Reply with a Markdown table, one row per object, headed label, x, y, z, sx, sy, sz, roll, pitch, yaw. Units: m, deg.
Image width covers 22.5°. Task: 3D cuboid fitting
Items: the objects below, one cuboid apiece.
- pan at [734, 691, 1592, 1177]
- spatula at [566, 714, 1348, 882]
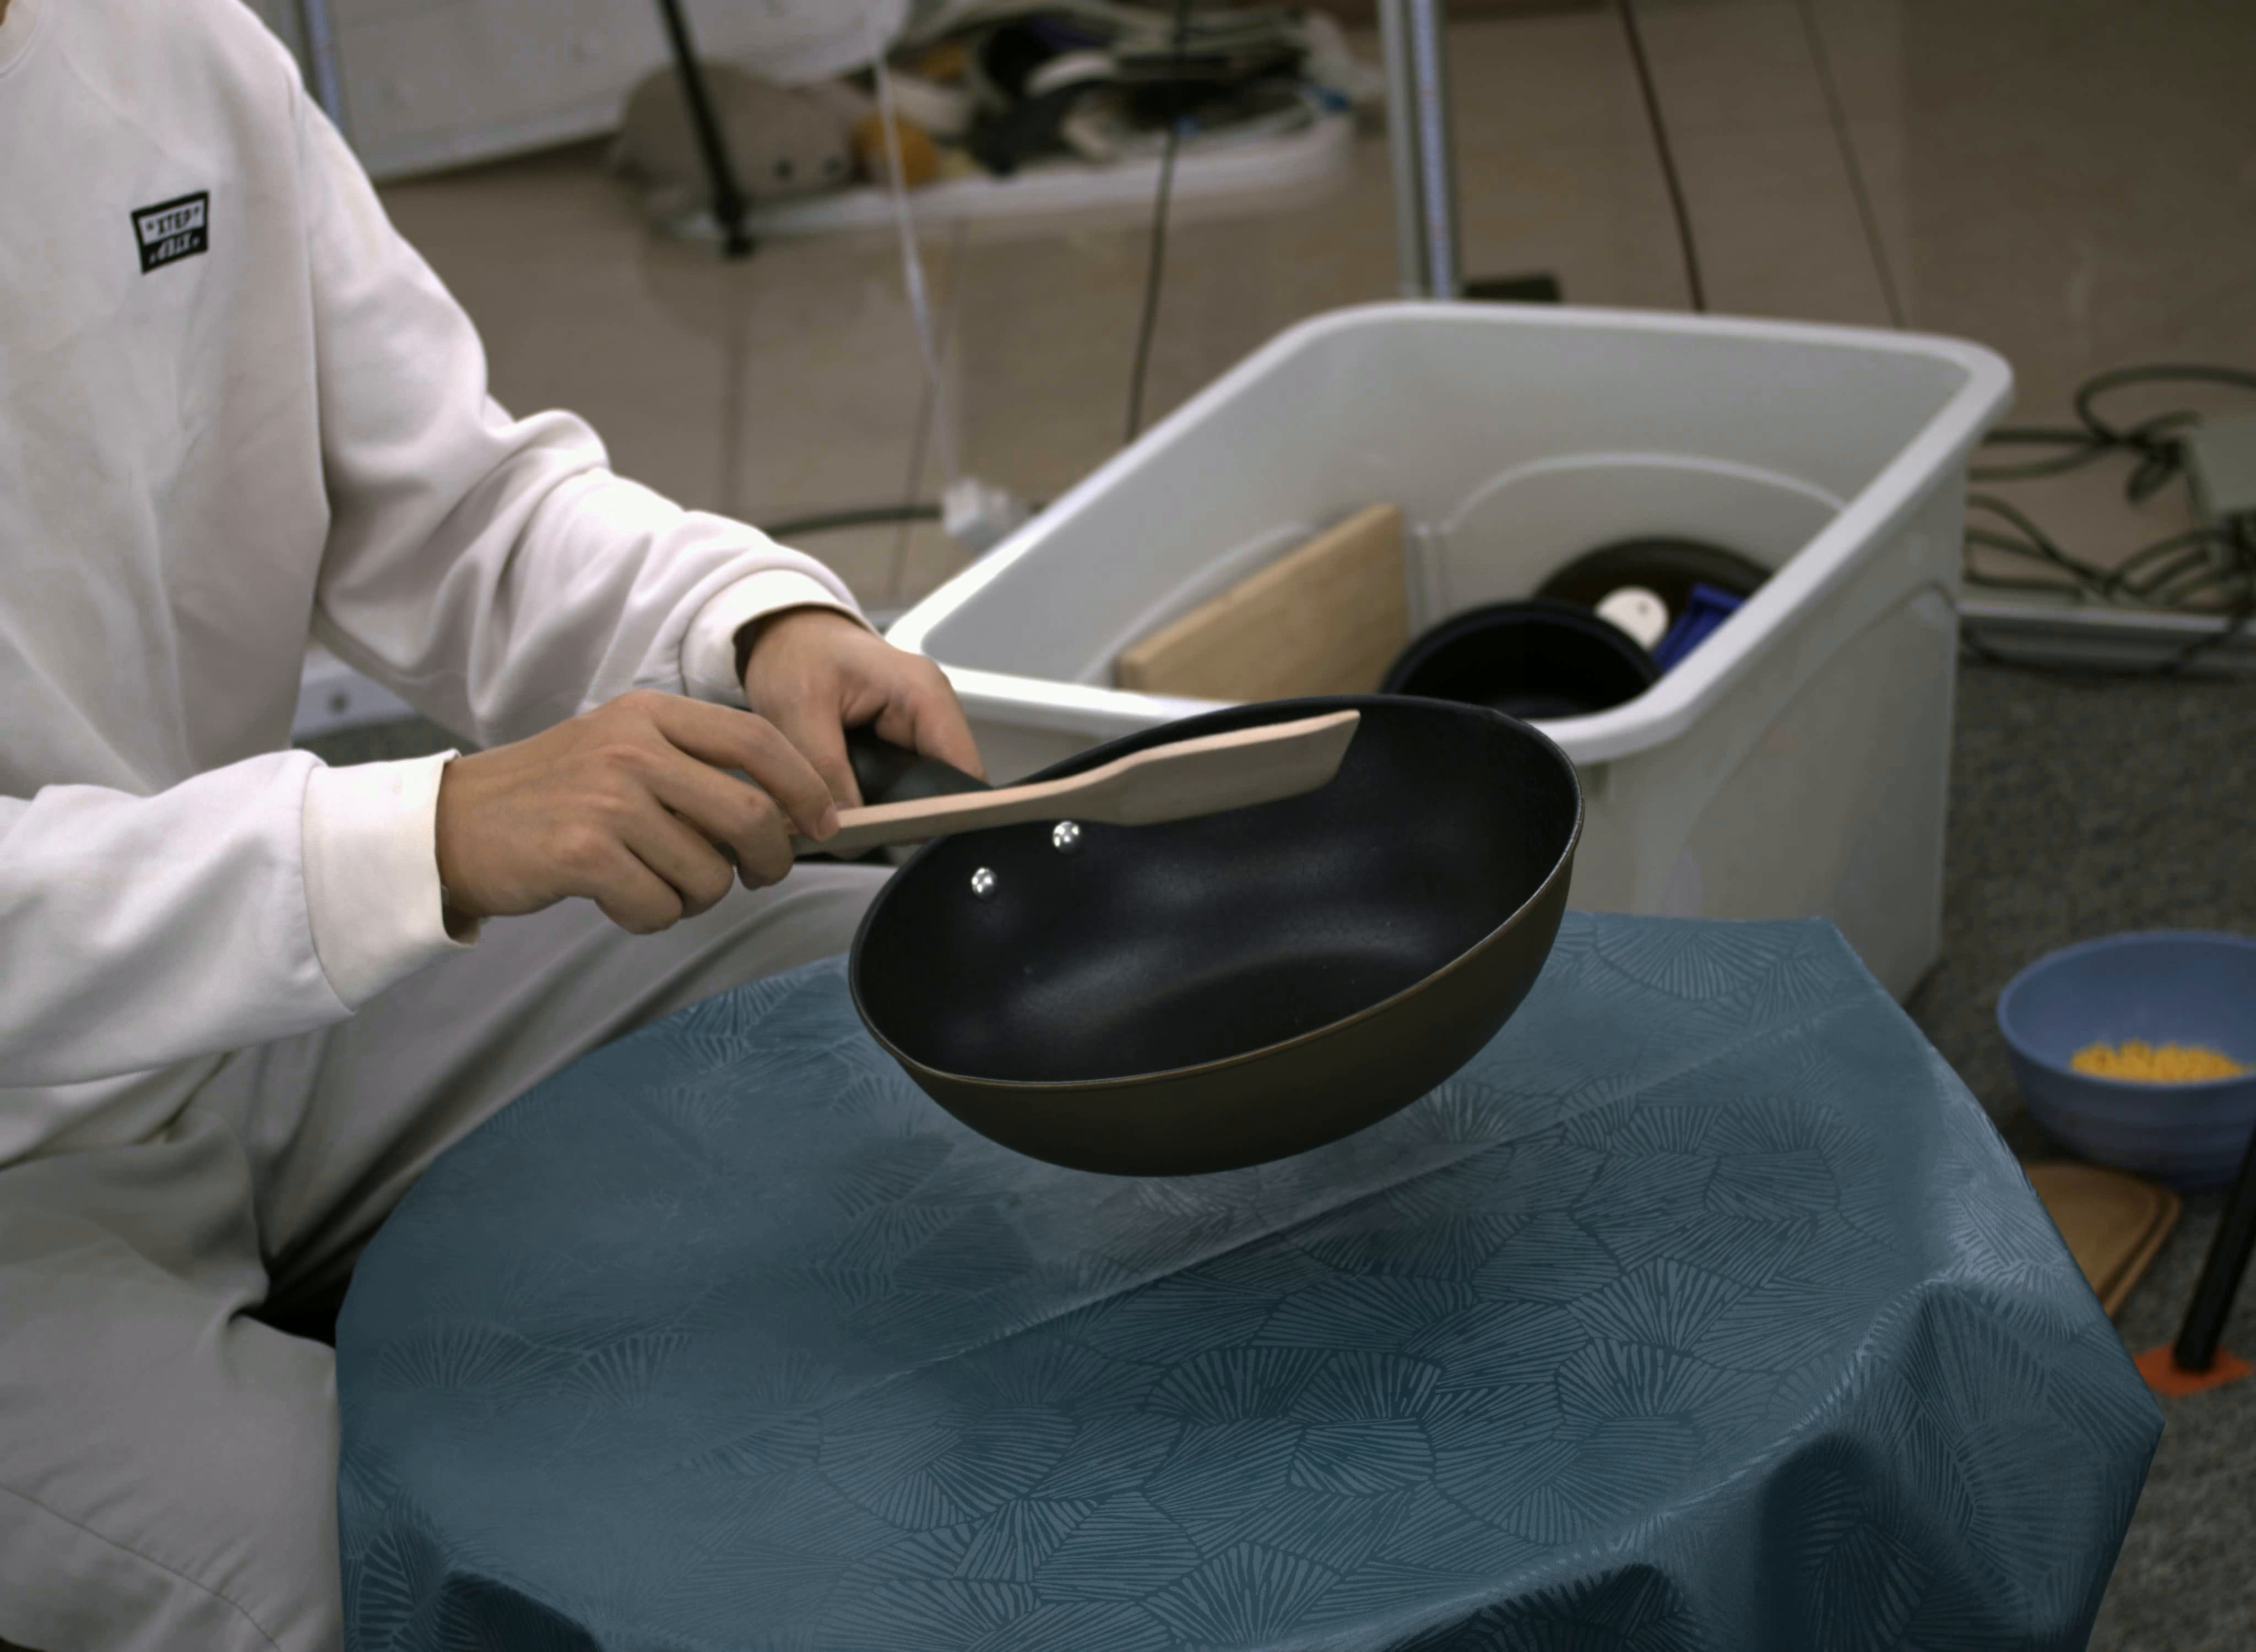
| label | x | y | z | sx | sy | sz | roll | pitch | yaw |
| --- | --- | --- | --- | --- | --- | --- | --- | --- | --- |
| pan | -0.014 | 0.032 | 2.172 | 0.286 | 0.088 | 0.459 | -31 | 30 | -28 |
| spatula | -0.062 | -0.007 | 2.086 | 0.292 | 0.010 | 0.073 | -9 | -18 | -11 |
